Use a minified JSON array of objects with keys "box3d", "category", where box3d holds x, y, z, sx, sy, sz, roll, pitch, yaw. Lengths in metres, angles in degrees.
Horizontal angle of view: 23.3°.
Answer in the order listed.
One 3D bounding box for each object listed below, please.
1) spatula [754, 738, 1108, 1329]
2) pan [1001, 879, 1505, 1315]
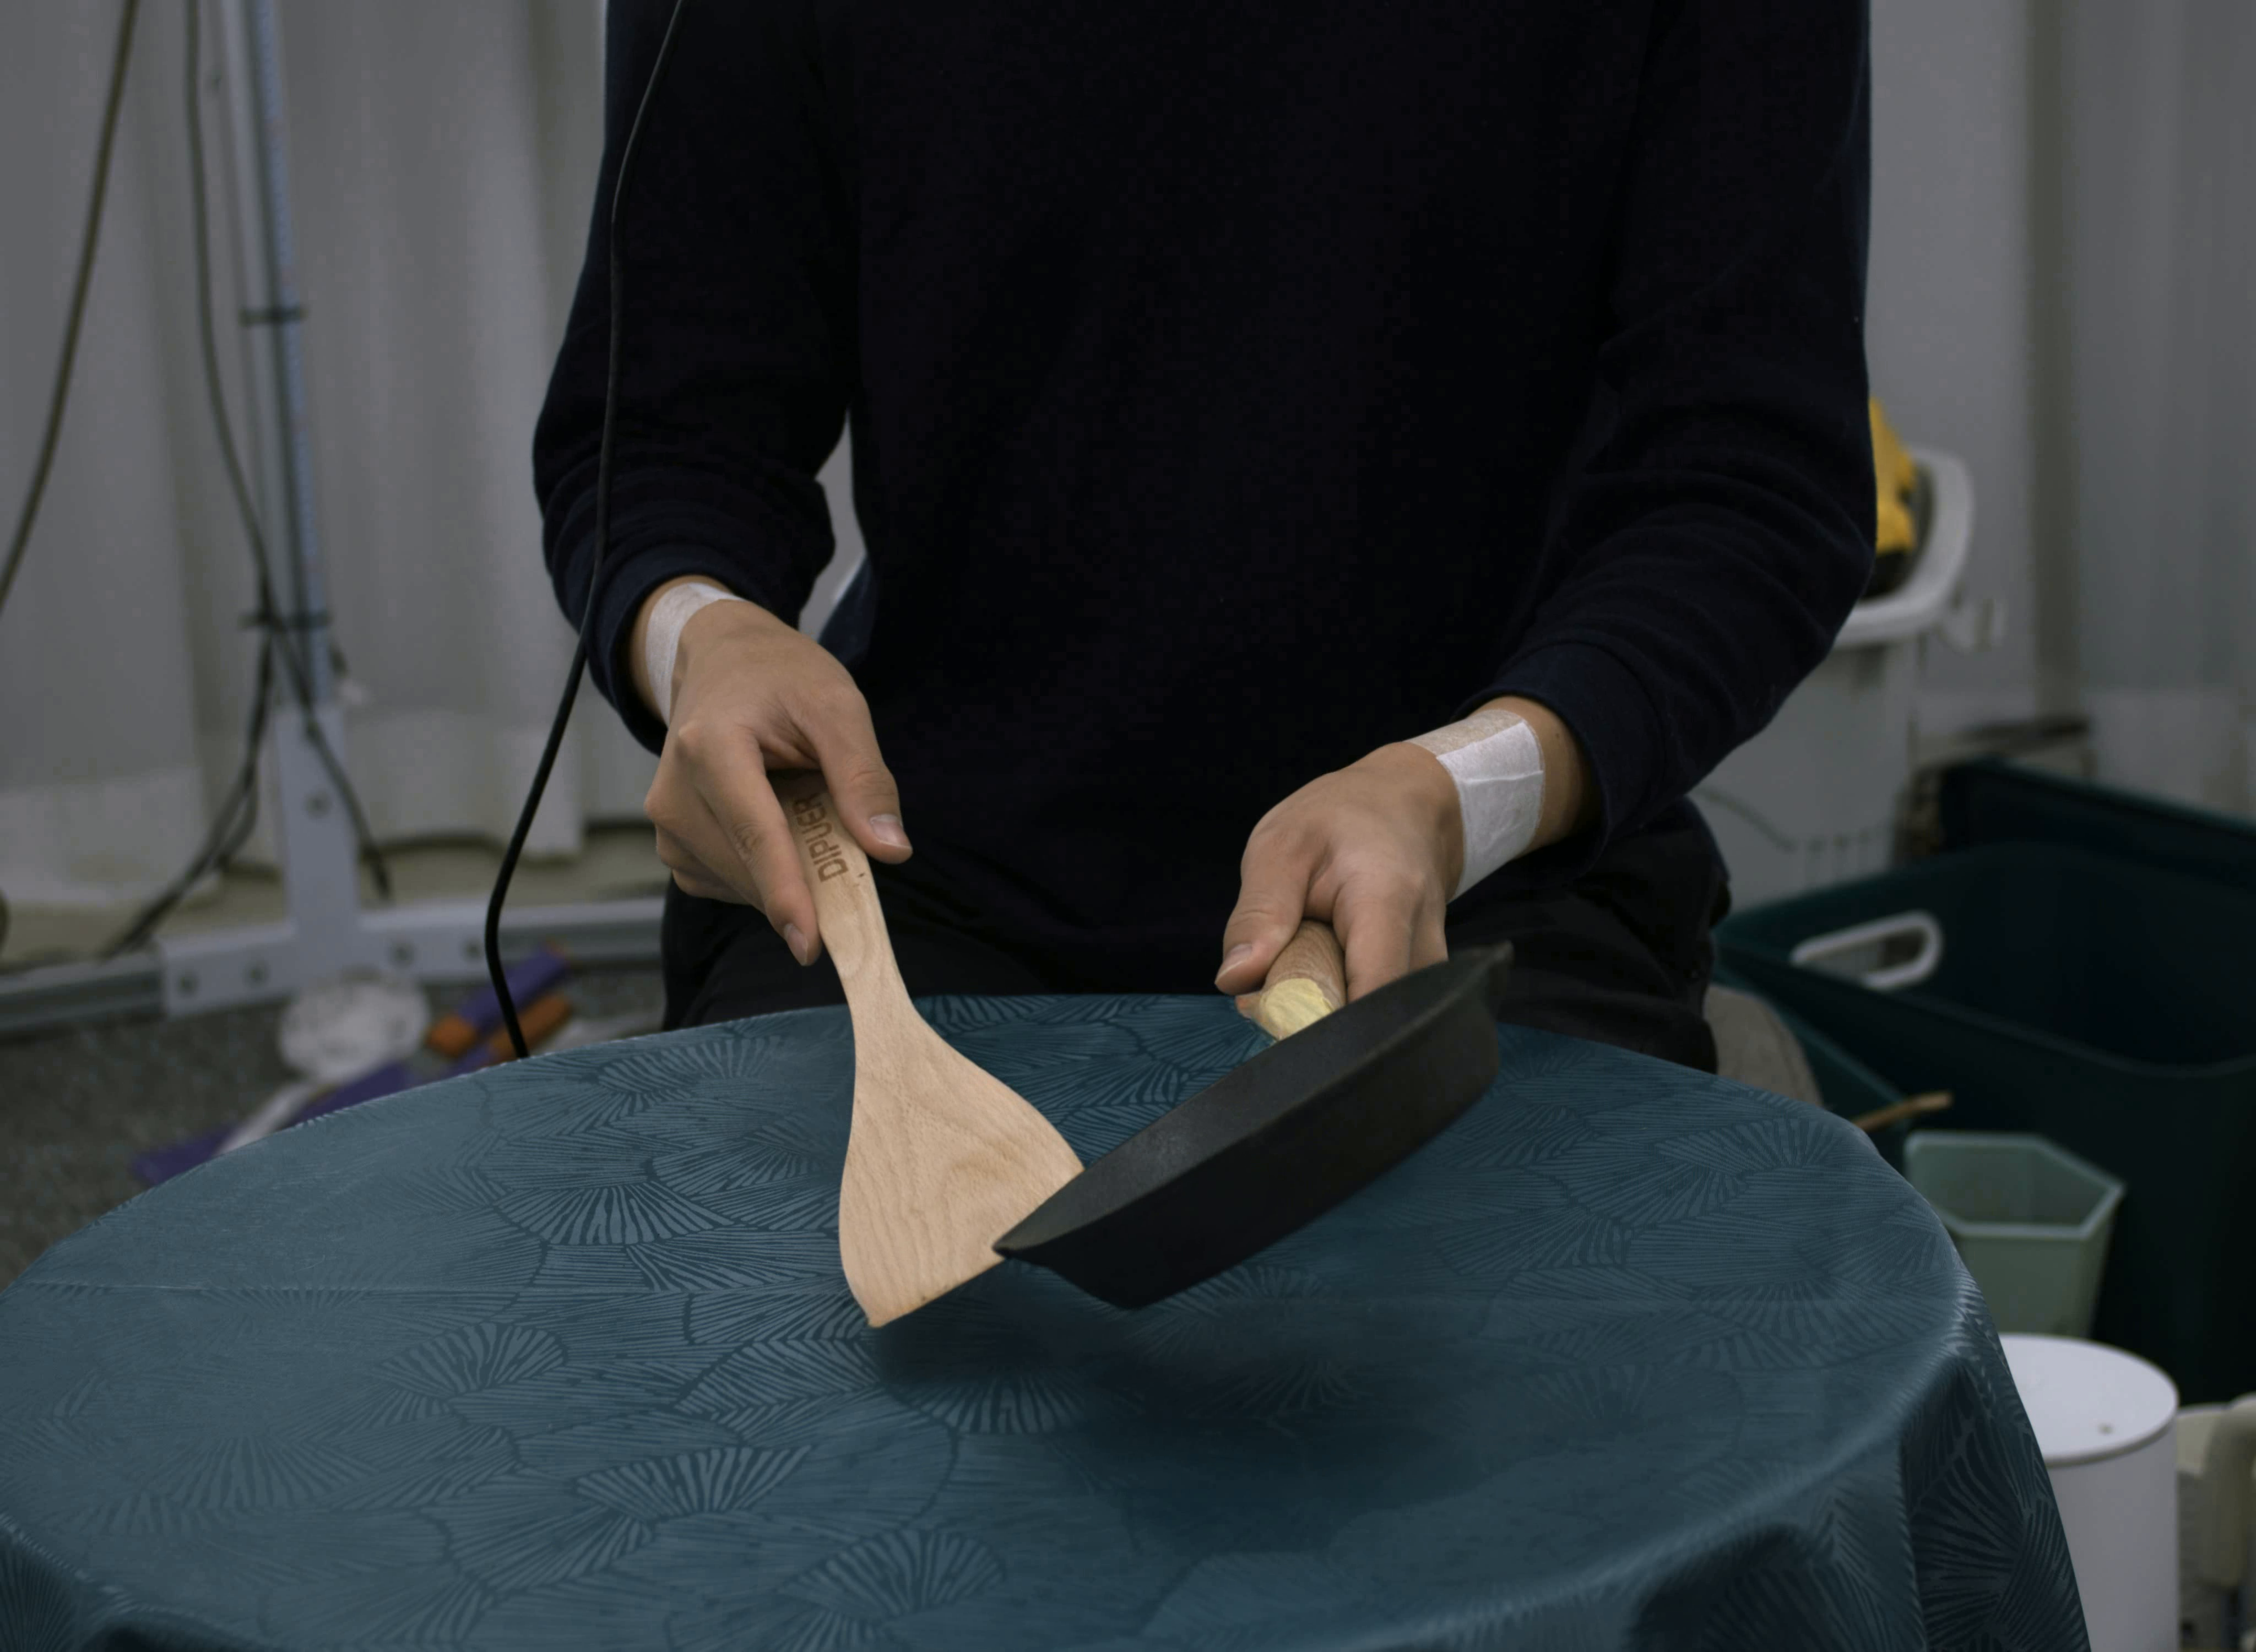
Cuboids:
[{"box3d":[-0.075,0.052,1.690,0.080,0.016,0.332,-22,33,-2],"category":"spatula"},{"box3d":[0.050,0.067,1.598,0.168,0.049,0.325,-33,4,13],"category":"pan"}]
